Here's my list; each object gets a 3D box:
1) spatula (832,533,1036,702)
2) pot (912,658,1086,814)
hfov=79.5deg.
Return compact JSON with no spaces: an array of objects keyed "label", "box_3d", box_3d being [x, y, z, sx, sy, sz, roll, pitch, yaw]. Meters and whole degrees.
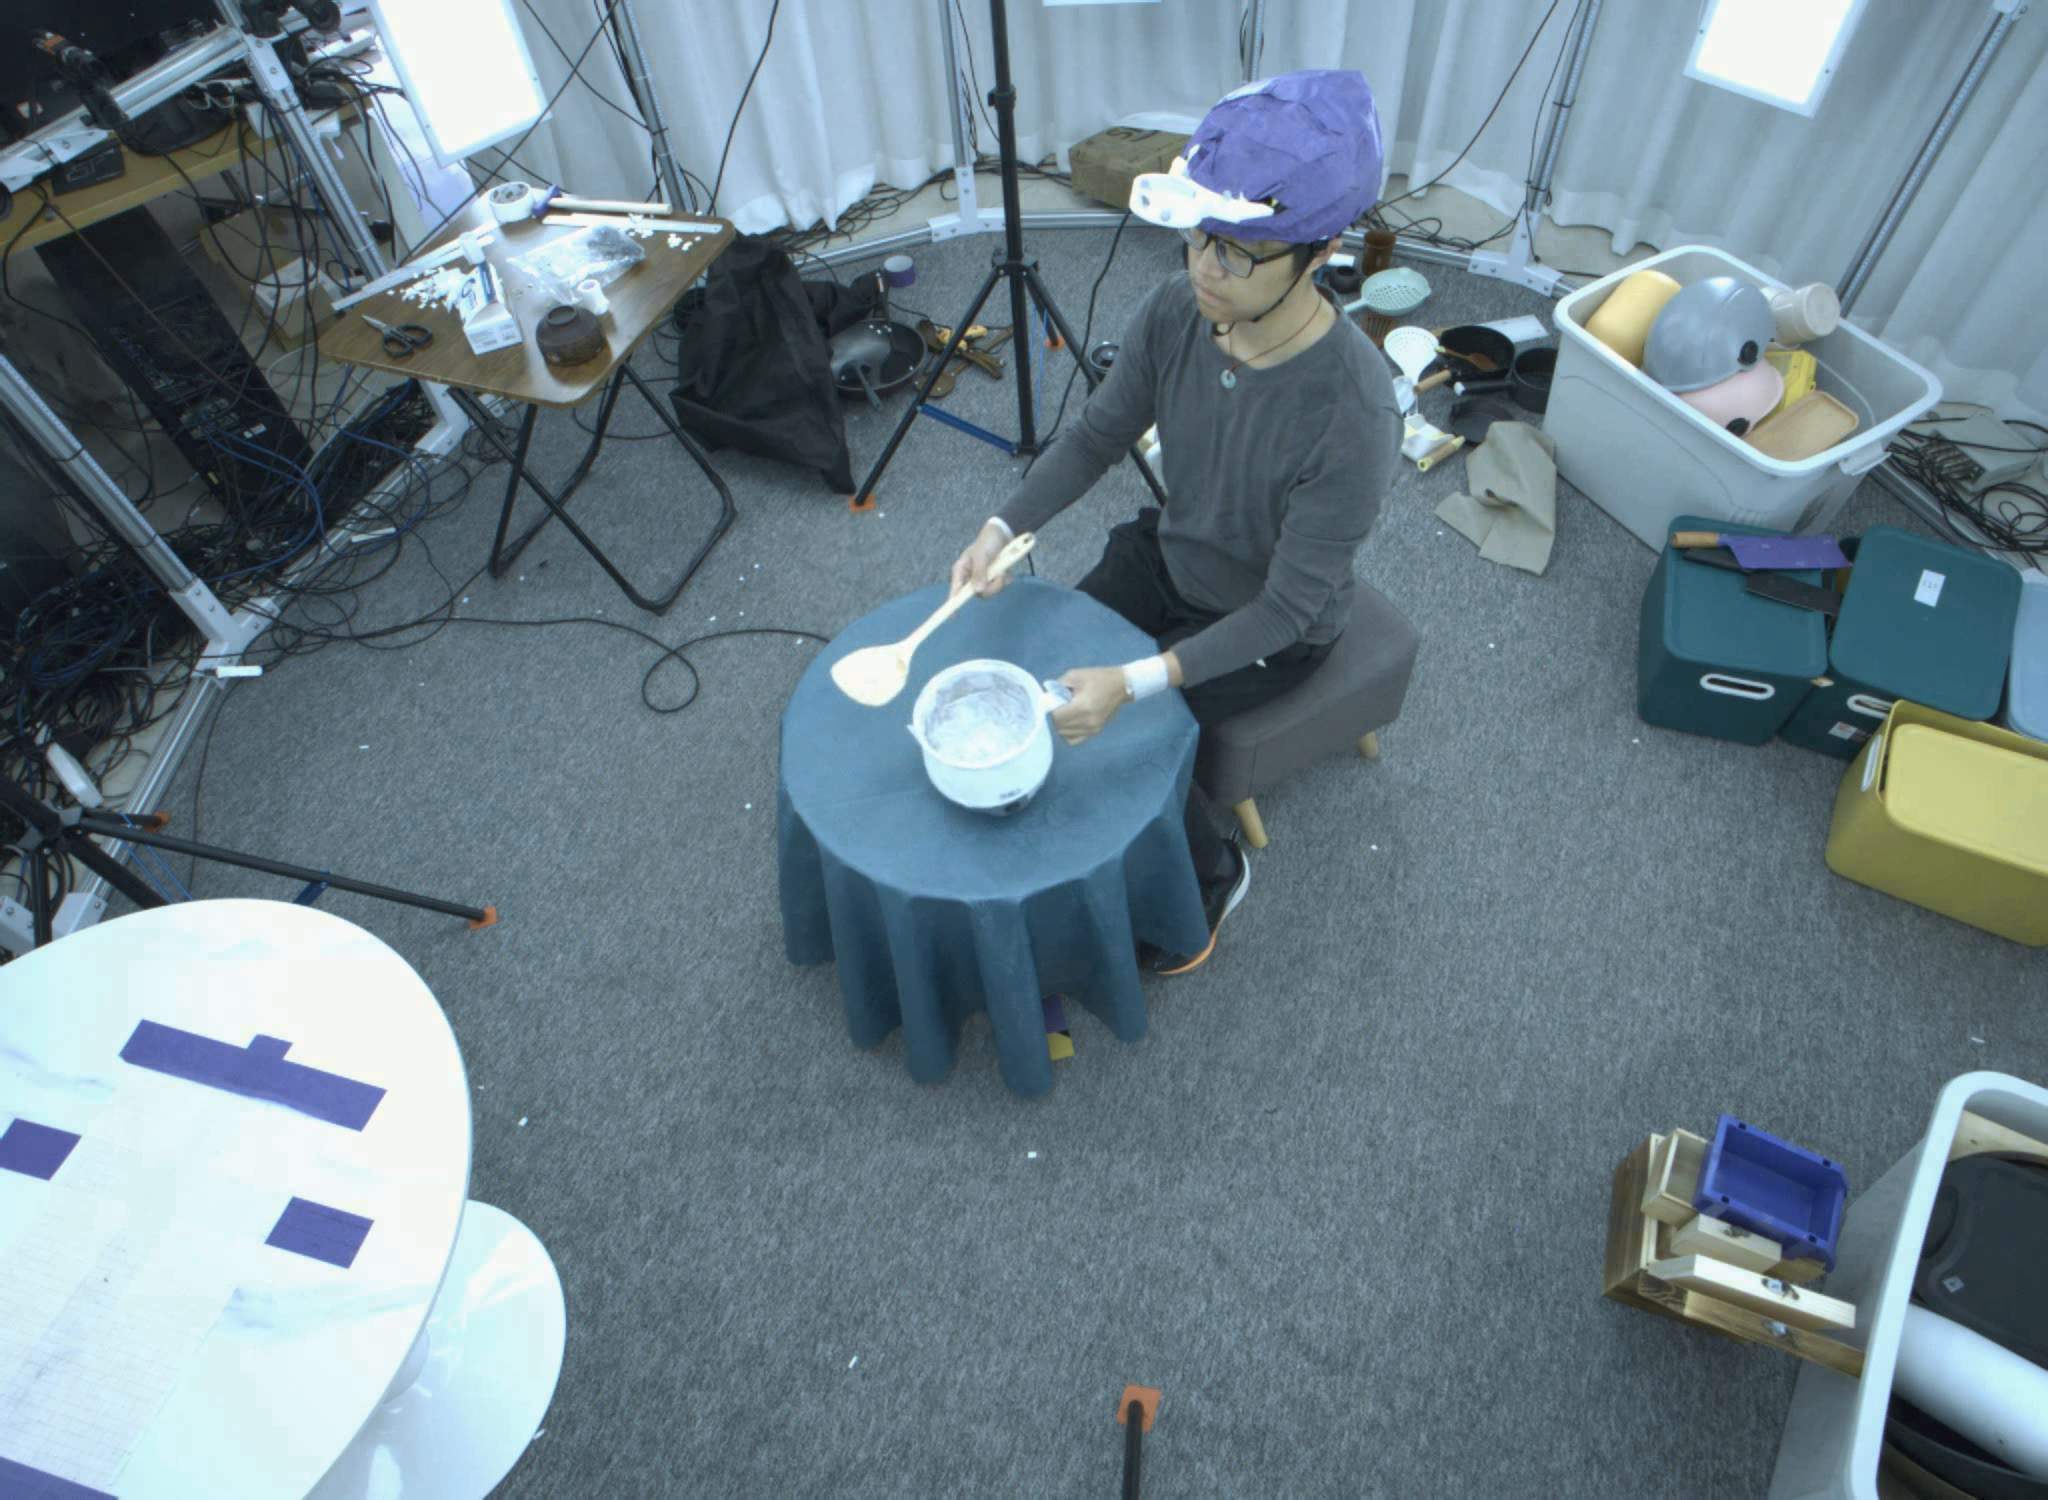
[{"label":"spatula","box_3d":[-0.113,-0.202,1.740,0.095,0.018,0.393,39,63,12]},{"label":"pot","box_3d":[-0.029,-0.028,1.683,0.235,0.138,0.175,-22,59,-10]}]
